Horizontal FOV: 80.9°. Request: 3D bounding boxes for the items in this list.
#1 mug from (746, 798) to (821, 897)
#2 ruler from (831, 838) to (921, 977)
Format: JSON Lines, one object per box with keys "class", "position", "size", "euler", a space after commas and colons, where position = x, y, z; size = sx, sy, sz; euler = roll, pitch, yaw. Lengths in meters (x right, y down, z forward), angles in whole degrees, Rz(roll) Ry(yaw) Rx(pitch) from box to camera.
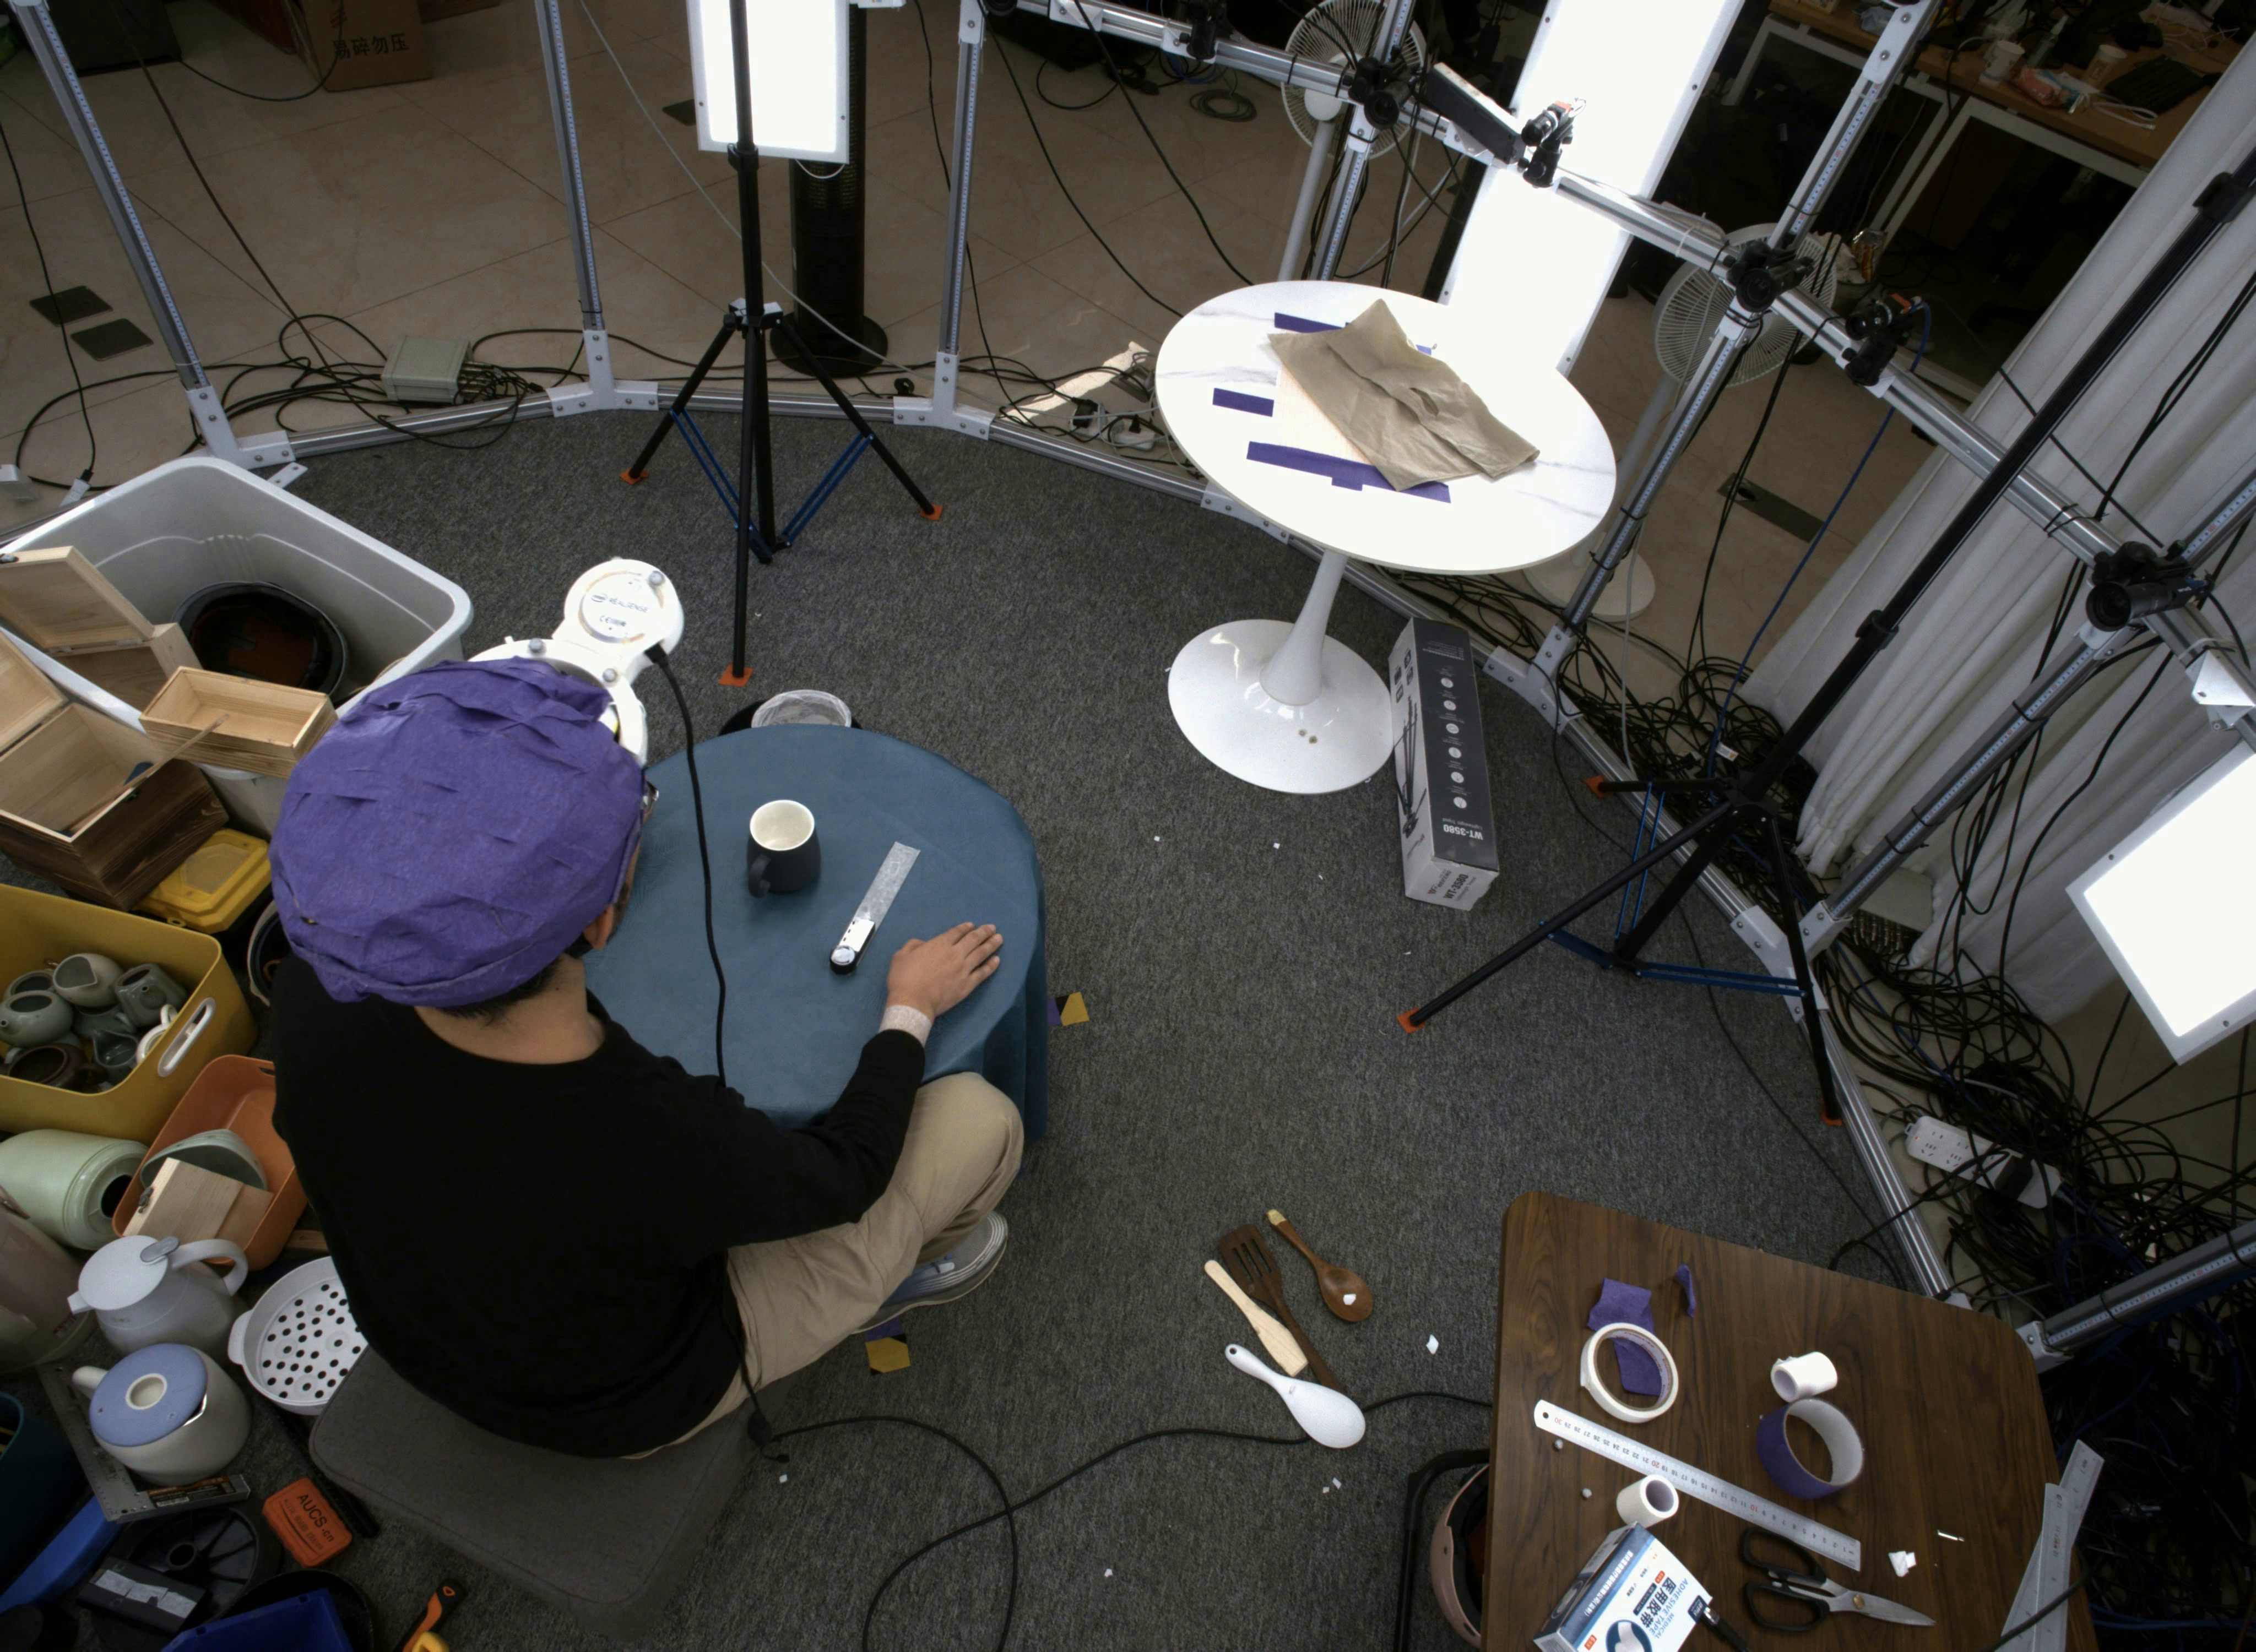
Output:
{"class": "mug", "position": [-0.443, 0.033, 1.629], "size": [0.092, 0.092, 0.122], "euler": [22, 50, 6]}
{"class": "ruler", "position": [-0.322, 0.097, 1.659], "size": [0.038, 0.024, 0.216], "euler": [25, 53, -3]}
